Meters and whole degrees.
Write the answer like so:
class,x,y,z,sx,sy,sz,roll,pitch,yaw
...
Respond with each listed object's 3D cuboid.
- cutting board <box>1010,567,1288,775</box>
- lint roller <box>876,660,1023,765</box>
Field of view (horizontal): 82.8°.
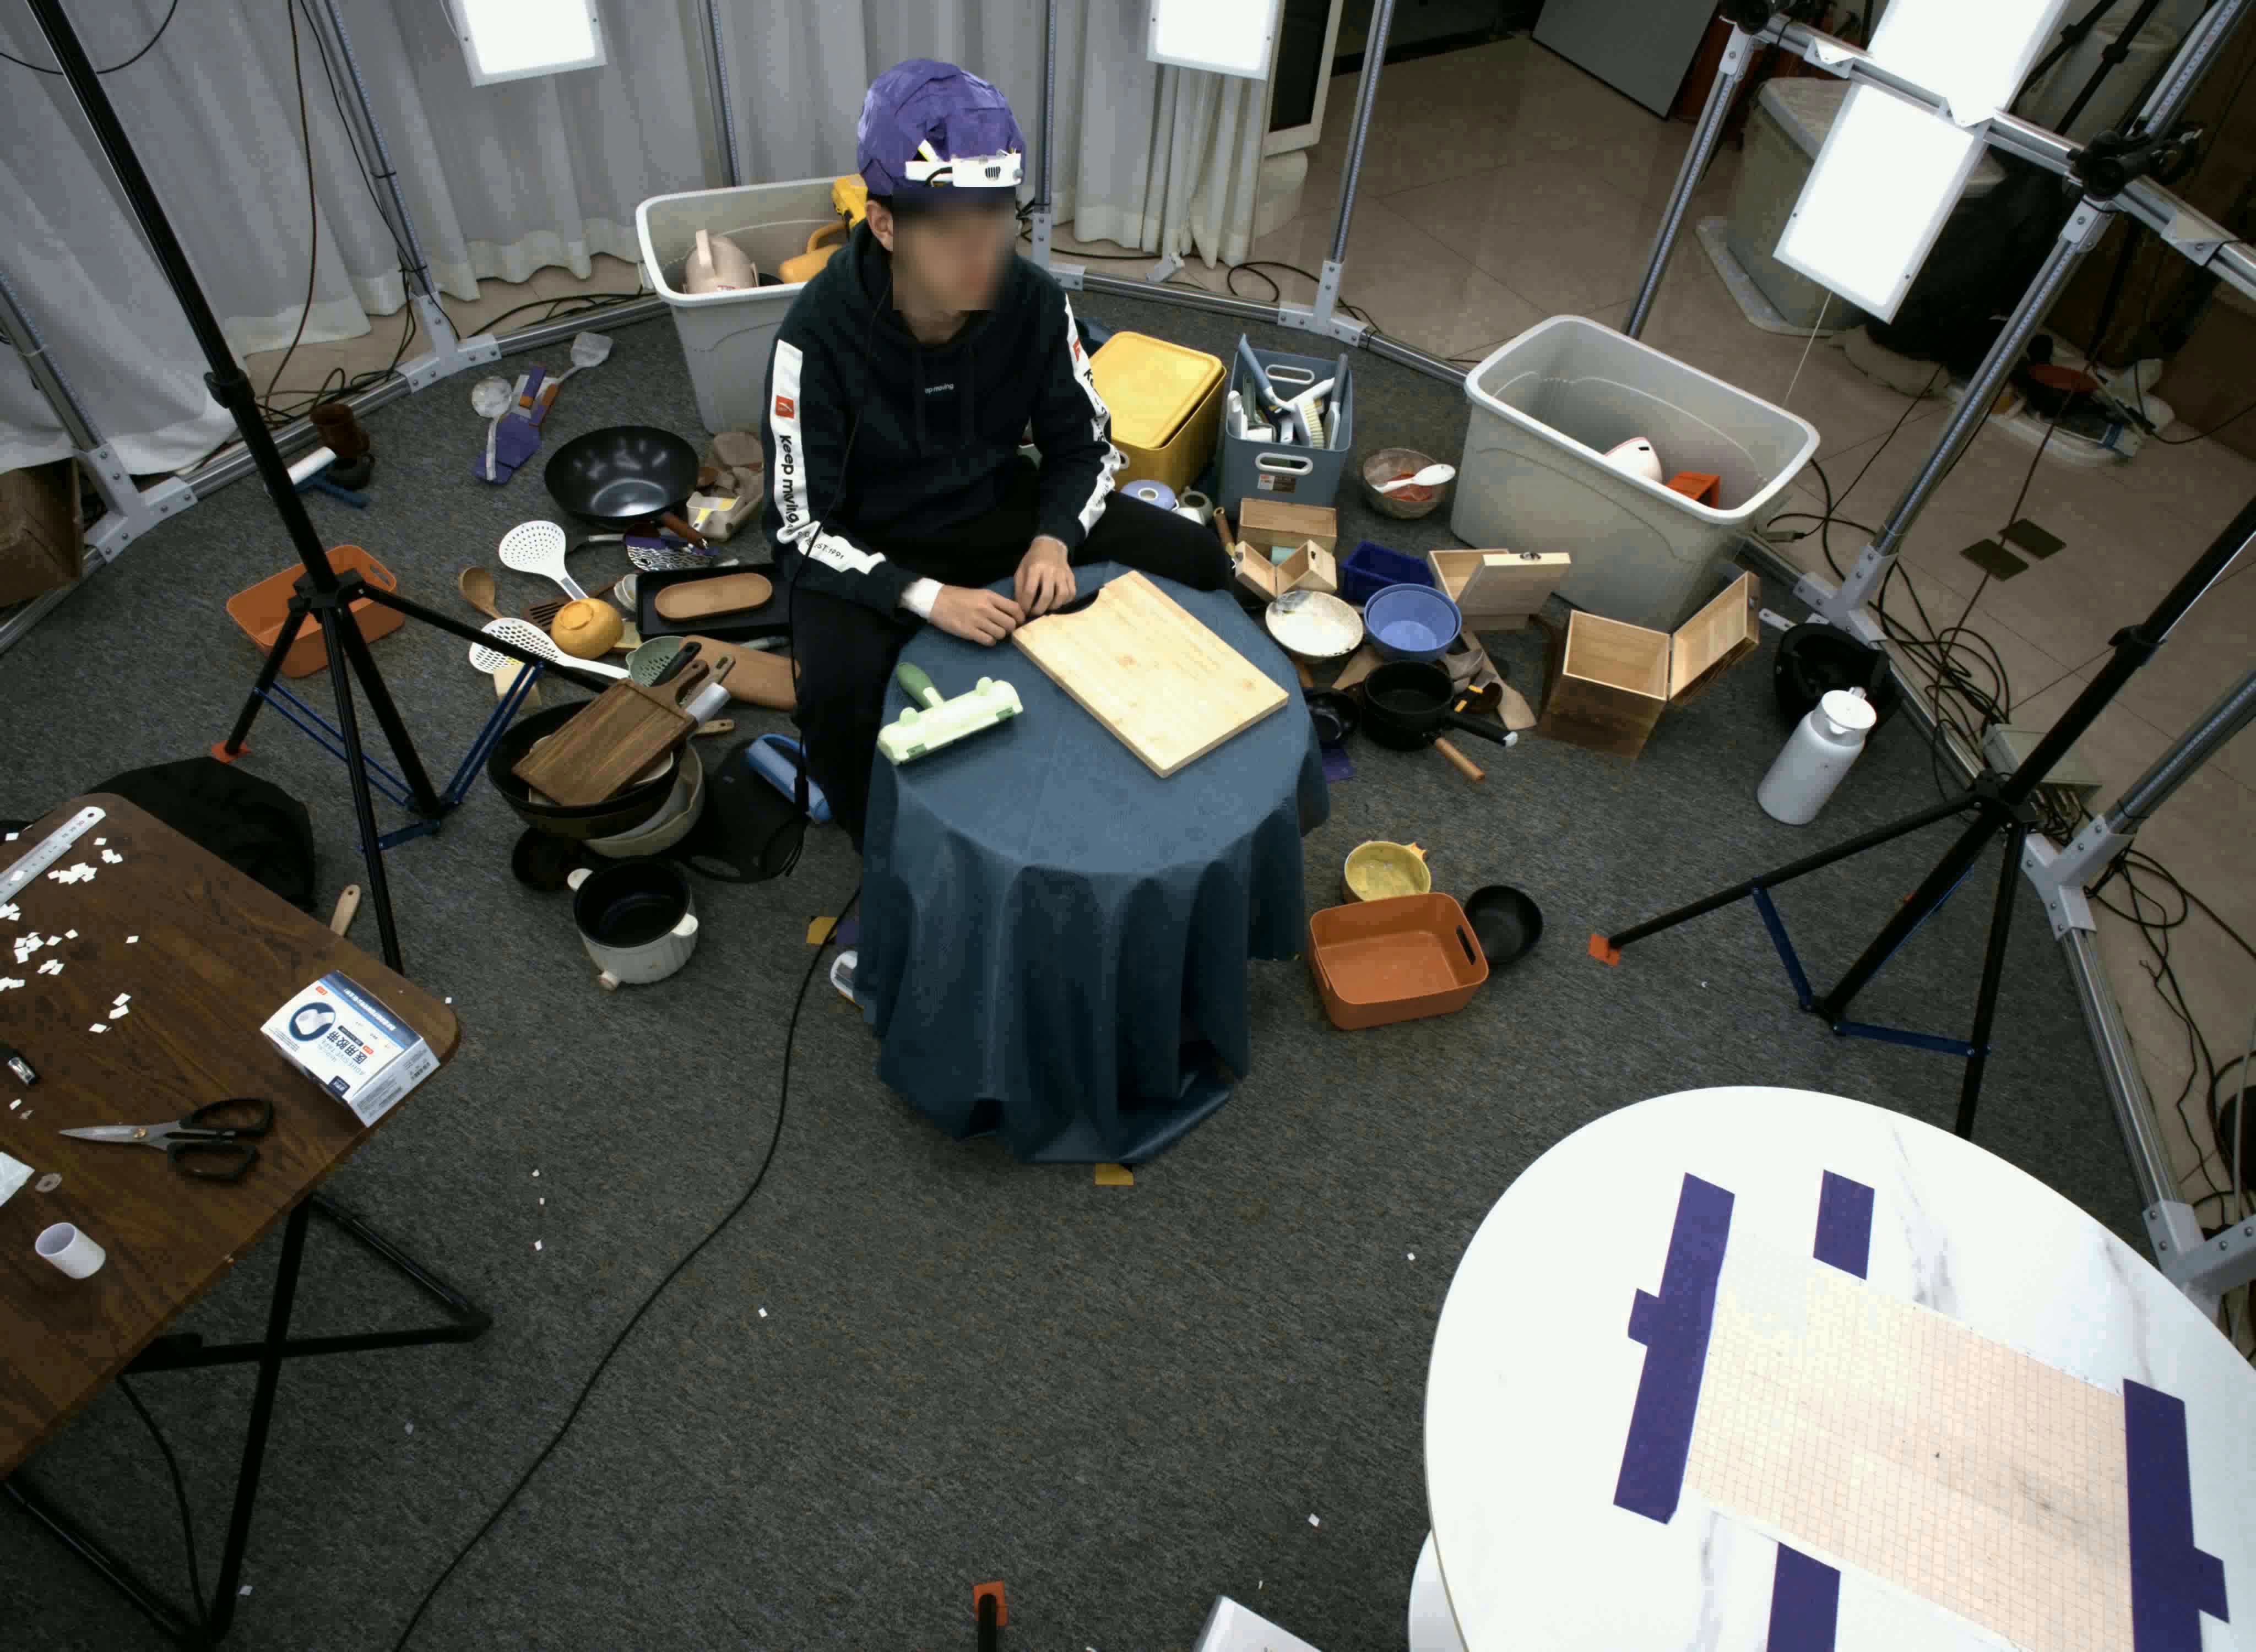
class,x,y,z,sx,sy,sz,roll,pitch,yaw
cutting board,0.027,-0.232,1.861,0.252,0.023,0.354,-31,58,-27
lint roller,-0.270,-0.184,1.760,0.199,0.080,0.187,-25,59,-23
